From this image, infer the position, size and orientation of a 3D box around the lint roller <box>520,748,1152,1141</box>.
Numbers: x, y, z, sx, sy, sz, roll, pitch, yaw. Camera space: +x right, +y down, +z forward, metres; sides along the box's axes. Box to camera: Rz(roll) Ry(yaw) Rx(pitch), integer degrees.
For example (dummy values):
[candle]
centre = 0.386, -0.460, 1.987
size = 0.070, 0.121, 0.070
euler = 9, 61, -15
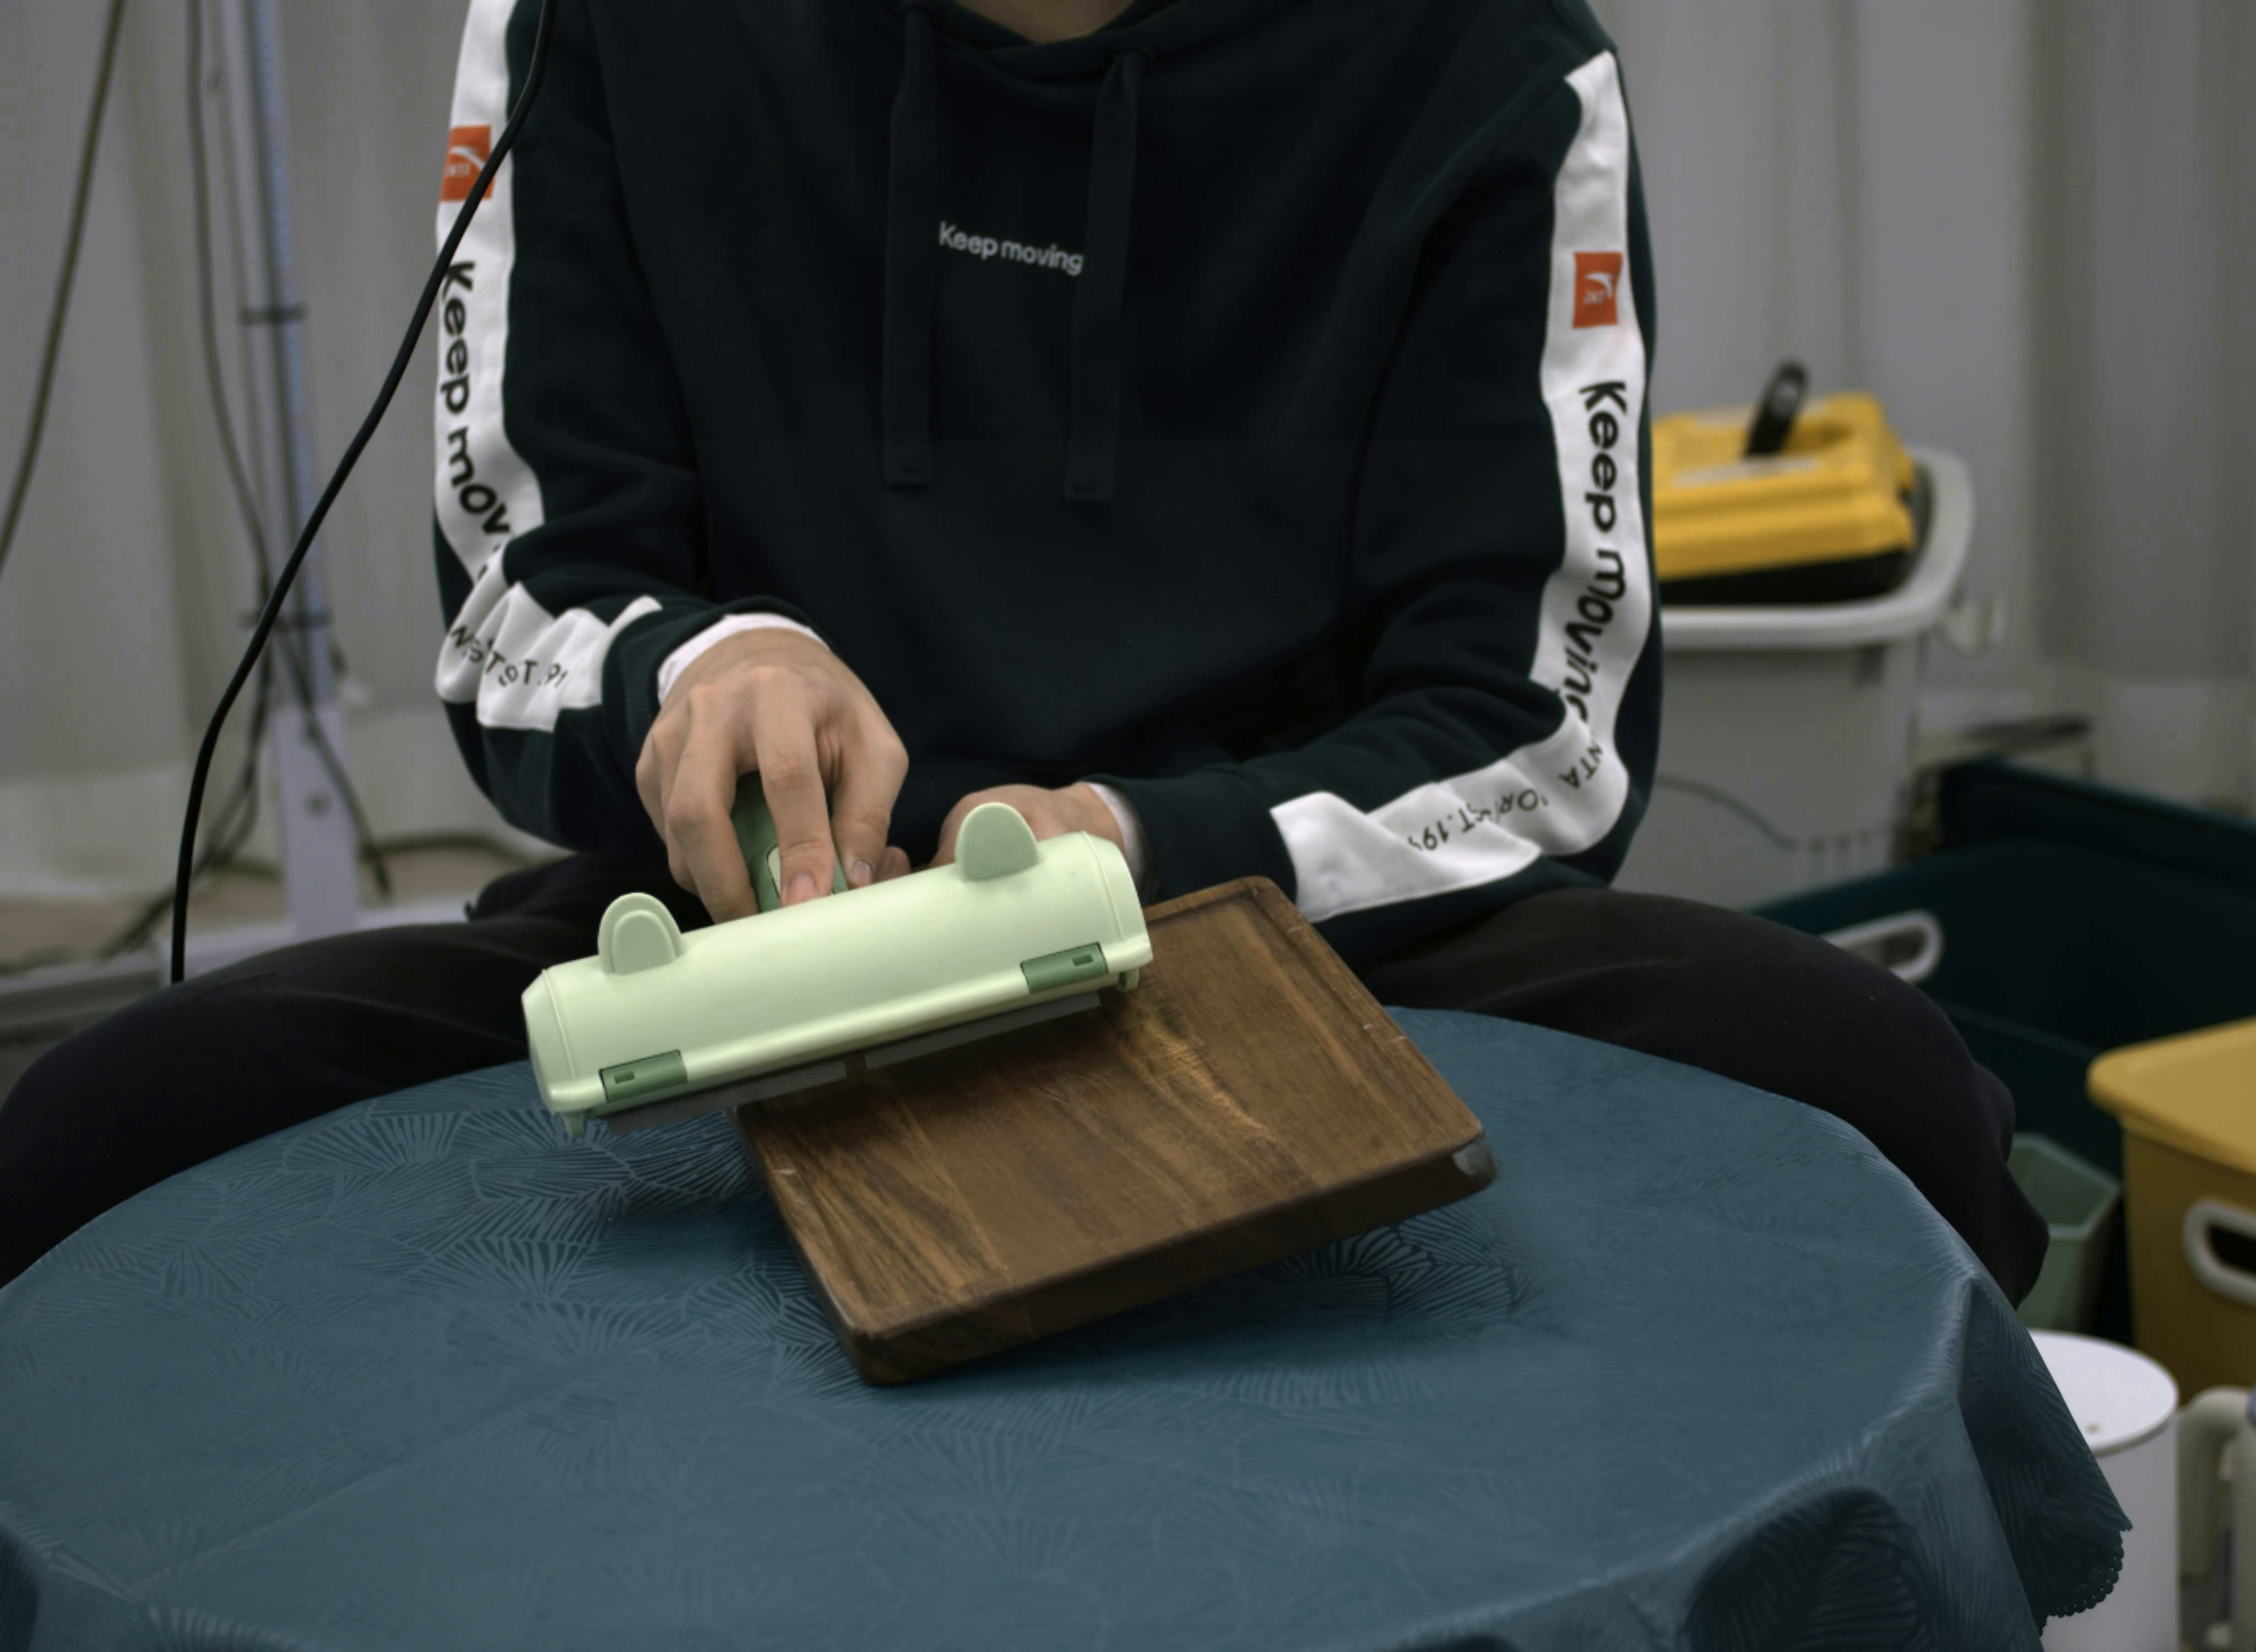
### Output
[lint roller]
centre = -0.107, 0.012, 1.763
size = 0.198, 0.081, 0.186
euler = -15, 41, -8

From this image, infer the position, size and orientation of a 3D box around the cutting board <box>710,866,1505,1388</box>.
[cutting board]
centre = -0.026, 0.074, 1.727
size = 0.200, 0.023, 0.355
euler = -18, 20, -9
